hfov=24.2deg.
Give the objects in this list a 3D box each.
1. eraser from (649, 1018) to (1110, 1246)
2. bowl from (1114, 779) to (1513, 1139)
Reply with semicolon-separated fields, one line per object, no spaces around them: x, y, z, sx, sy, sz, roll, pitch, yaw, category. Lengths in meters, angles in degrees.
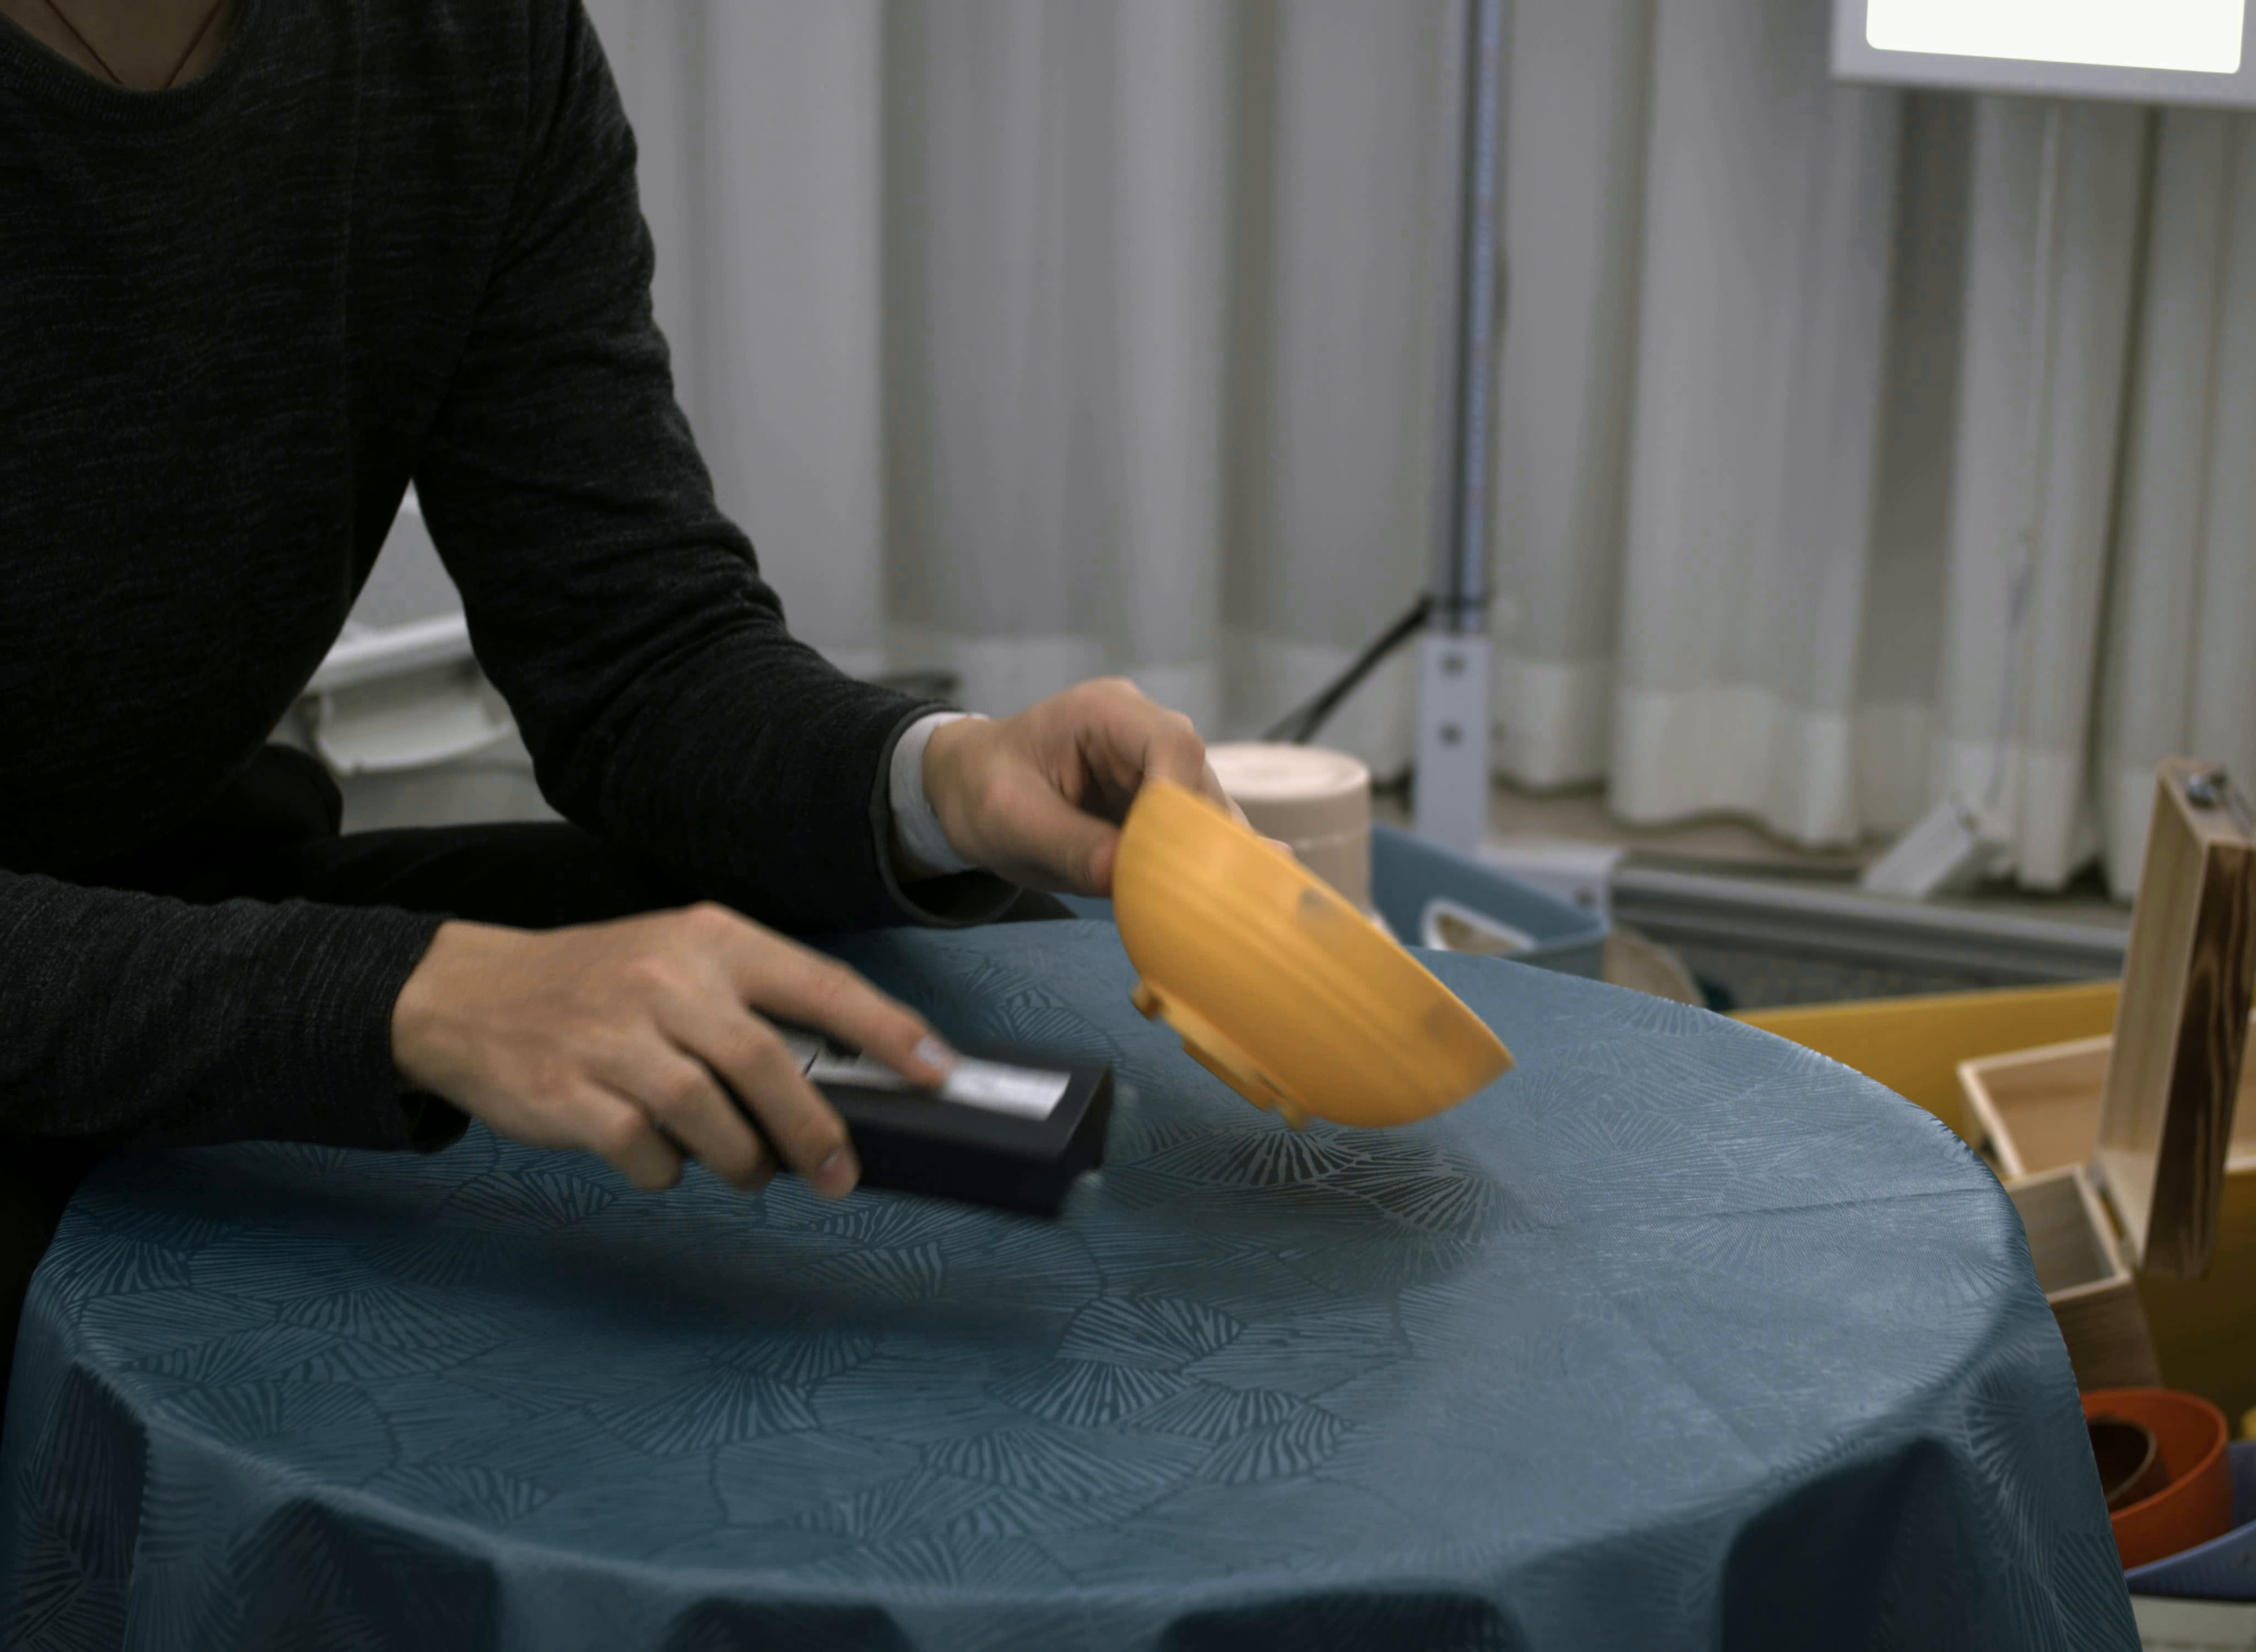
-0.070;0.087;1.509;0.124;0.031;0.053;10;28;12;eraser
0.045;0.053;1.618;0.145;0.060;0.145;38;-5;5;bowl
